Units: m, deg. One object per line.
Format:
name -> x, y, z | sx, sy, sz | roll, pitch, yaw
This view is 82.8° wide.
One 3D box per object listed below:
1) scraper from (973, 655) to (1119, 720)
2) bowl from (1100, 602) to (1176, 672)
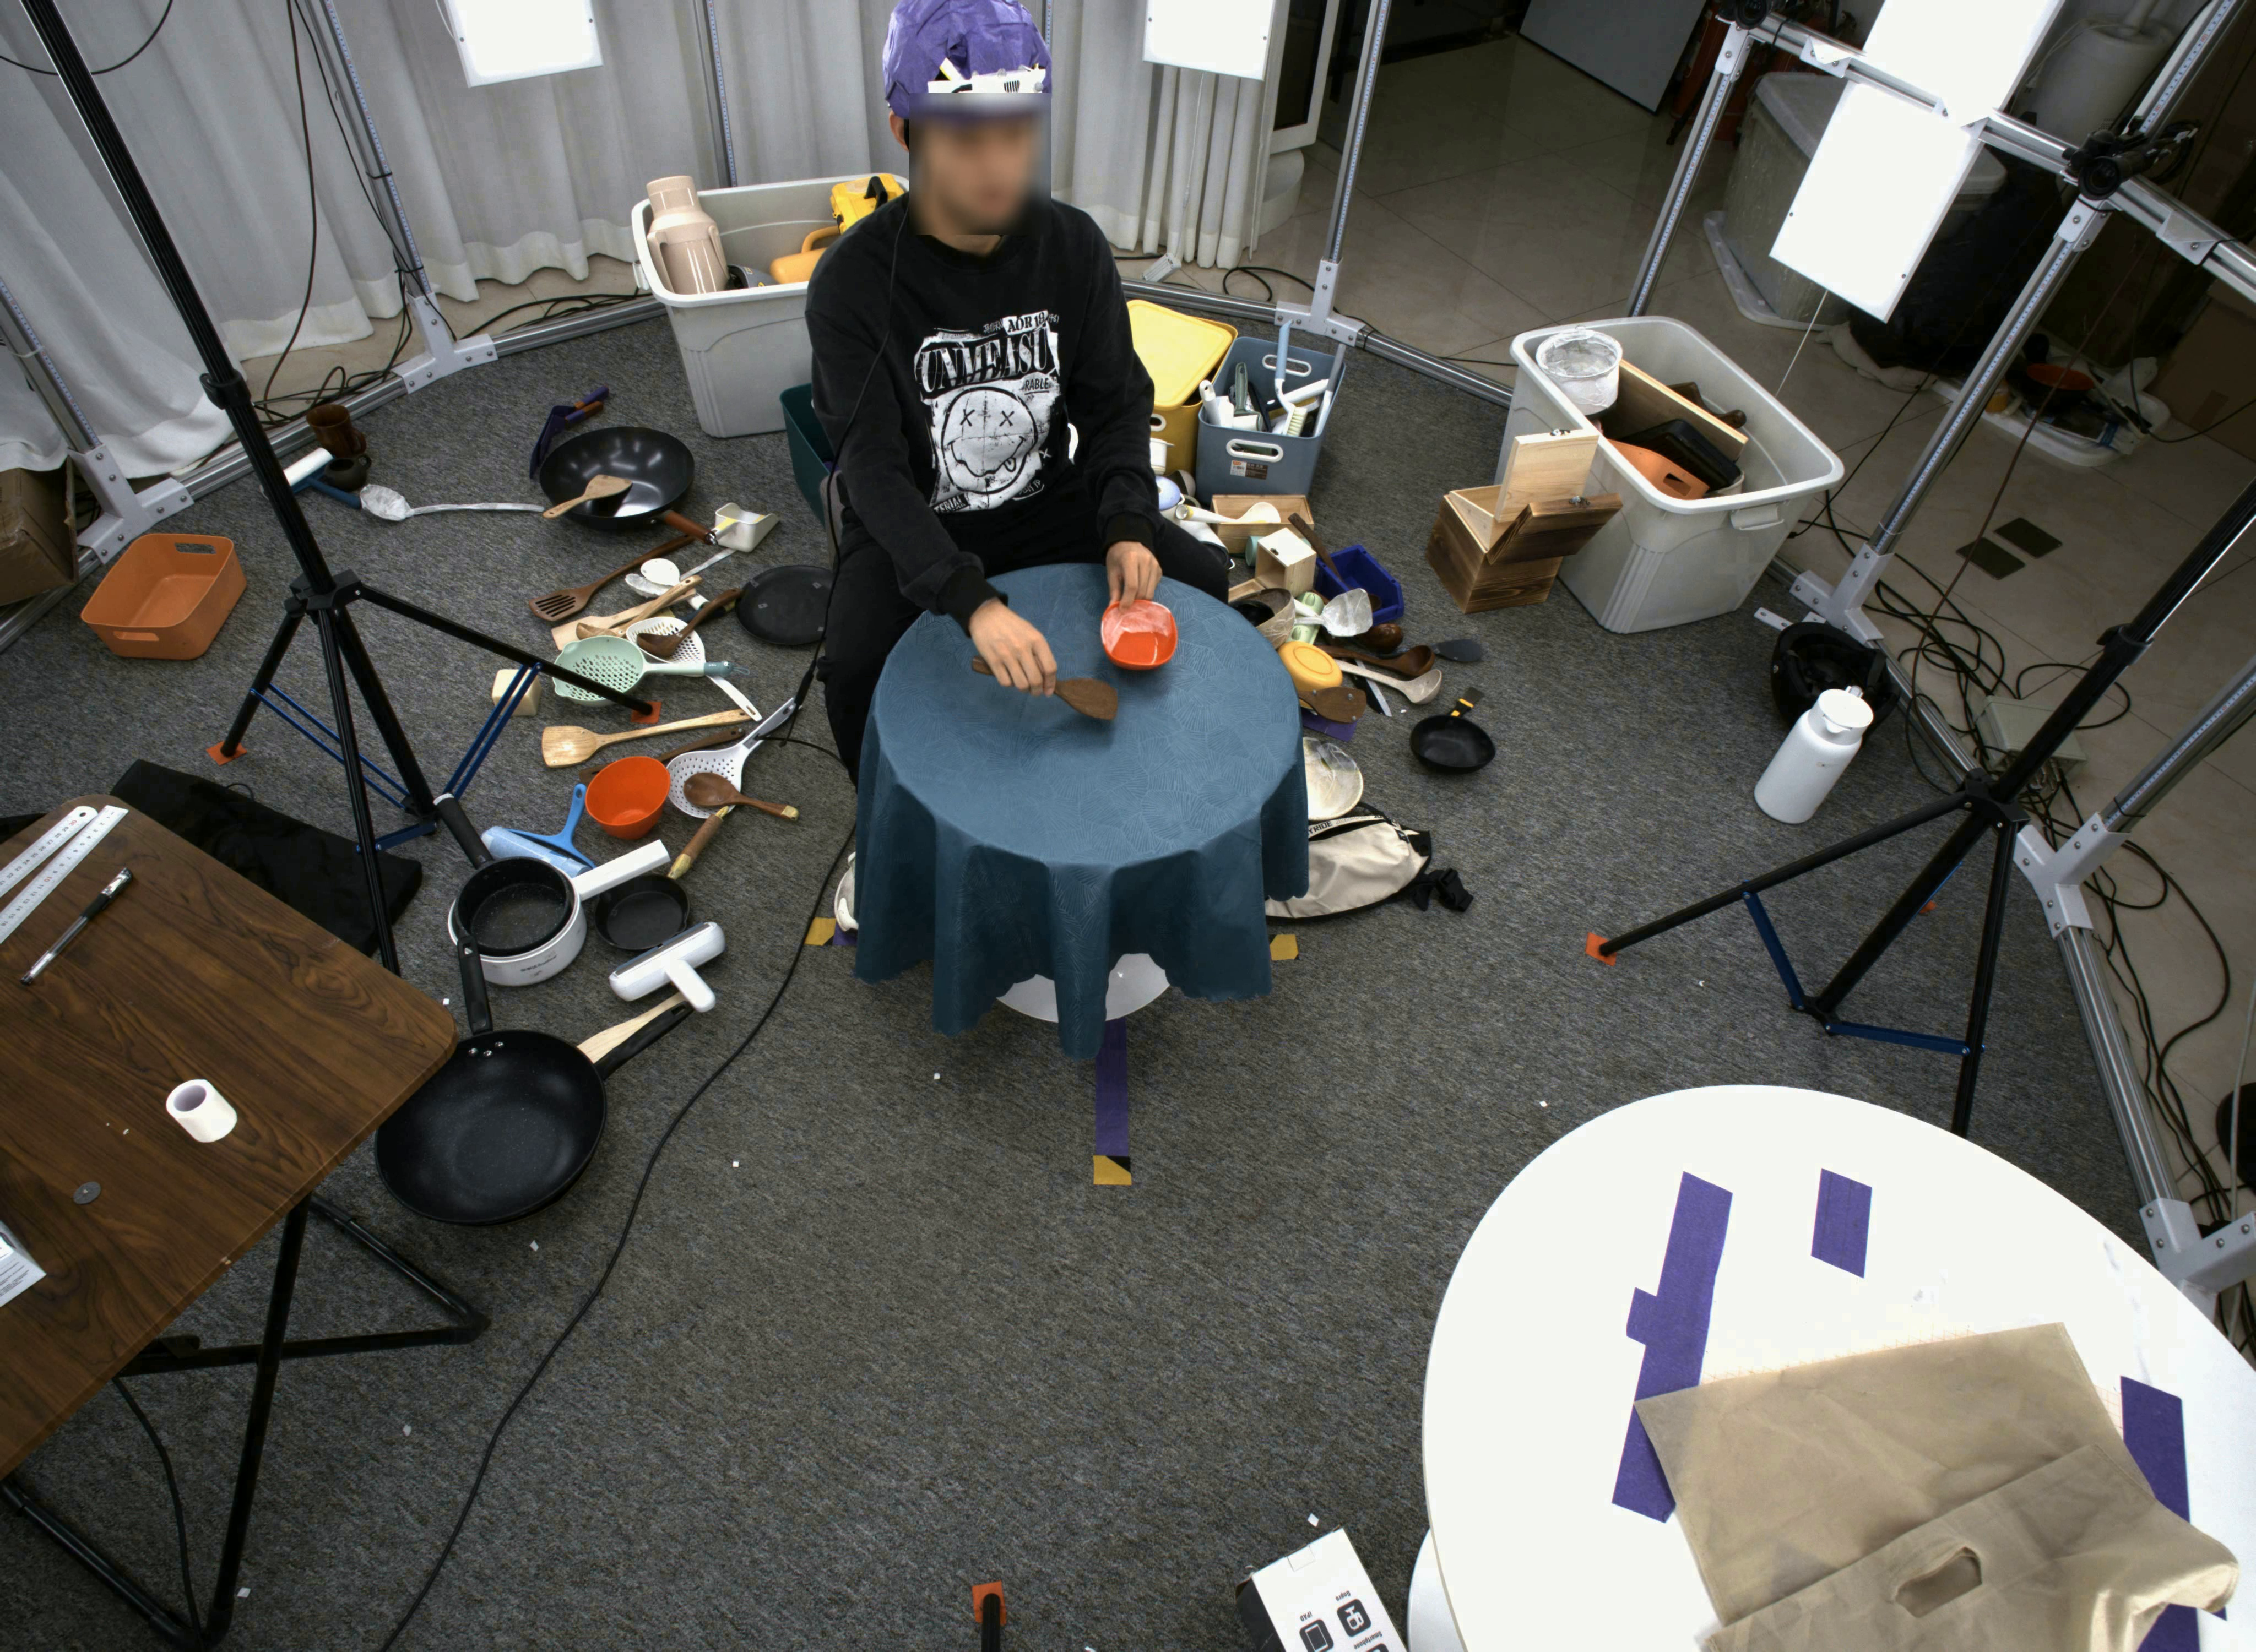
scraper -> -0.112, -0.197, 1.766 | 0.210, 0.010, 0.078 | 15, 48, -16
bowl -> 0.012, -0.267, 1.870 | 0.118, 0.050, 0.121 | 3, 64, -6
